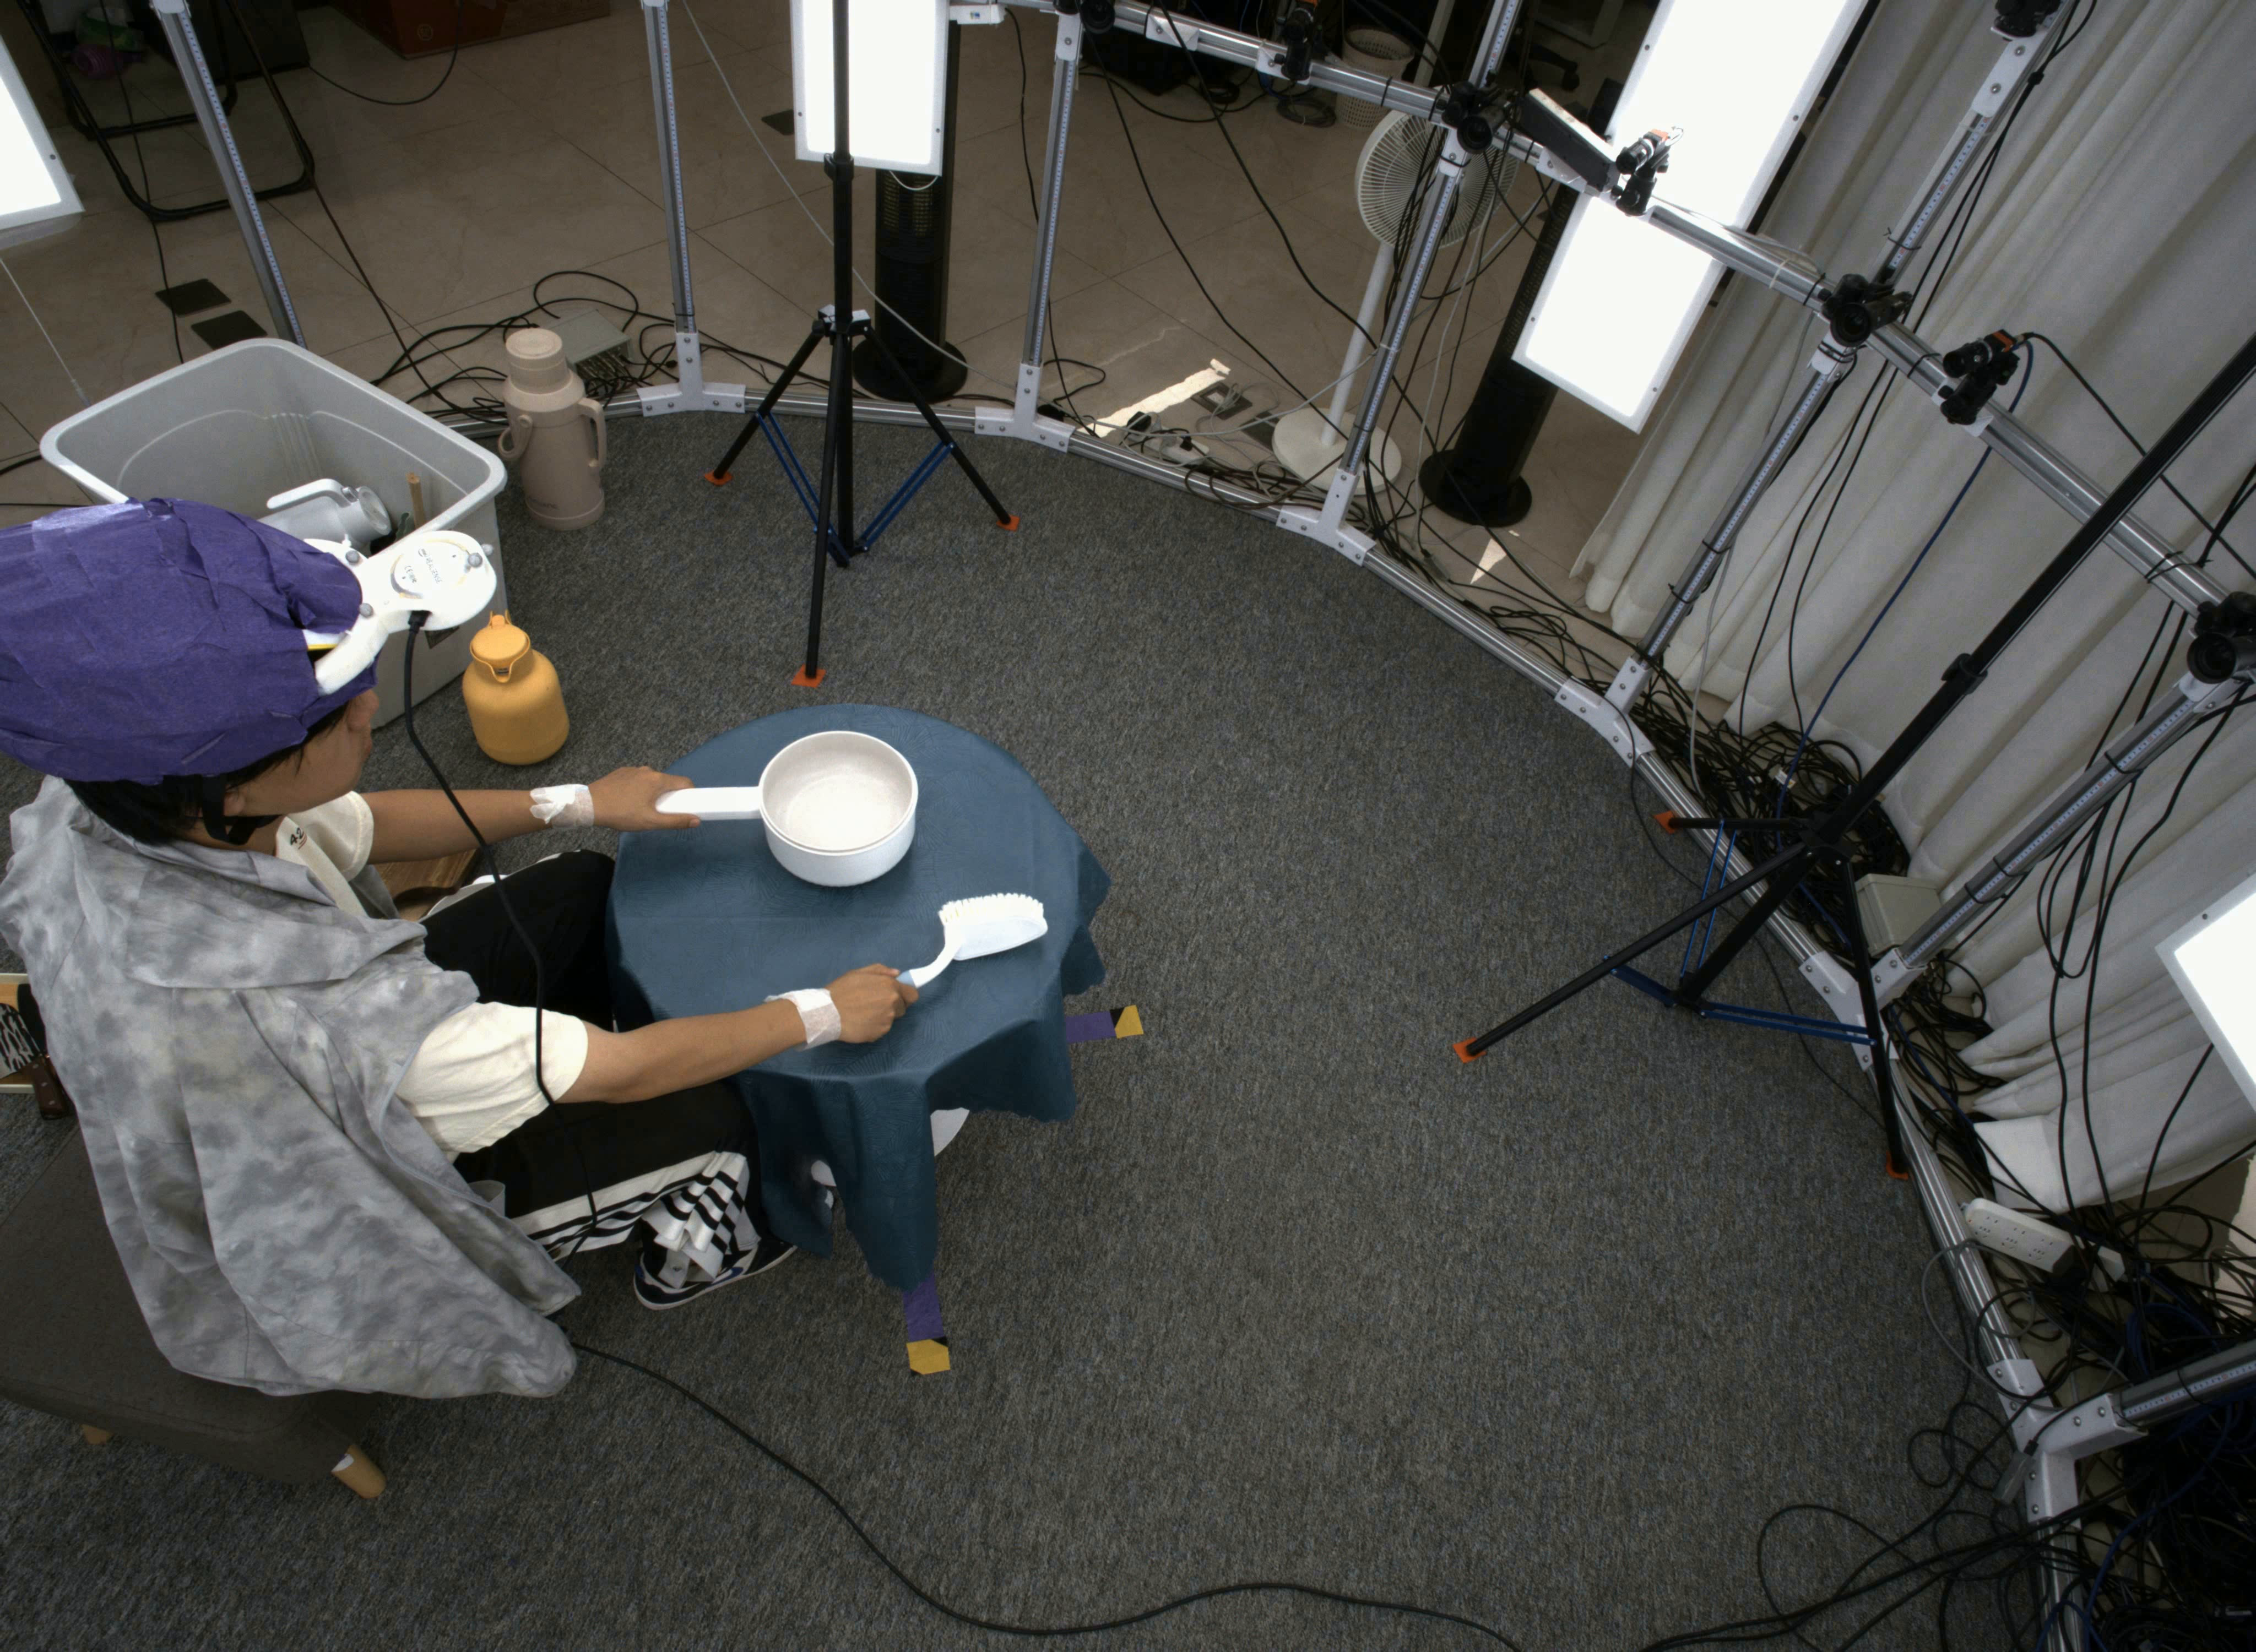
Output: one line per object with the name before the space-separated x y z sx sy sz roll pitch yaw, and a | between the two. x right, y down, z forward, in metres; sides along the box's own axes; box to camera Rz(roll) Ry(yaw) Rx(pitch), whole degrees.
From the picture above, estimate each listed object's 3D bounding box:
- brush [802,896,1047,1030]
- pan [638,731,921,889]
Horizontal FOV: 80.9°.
brush | -0.256 0.155 1.610 0.326 0.083 0.084 -21 97 -20
pan | -0.443 -0.013 1.669 0.355 0.104 0.197 -3 55 -13
